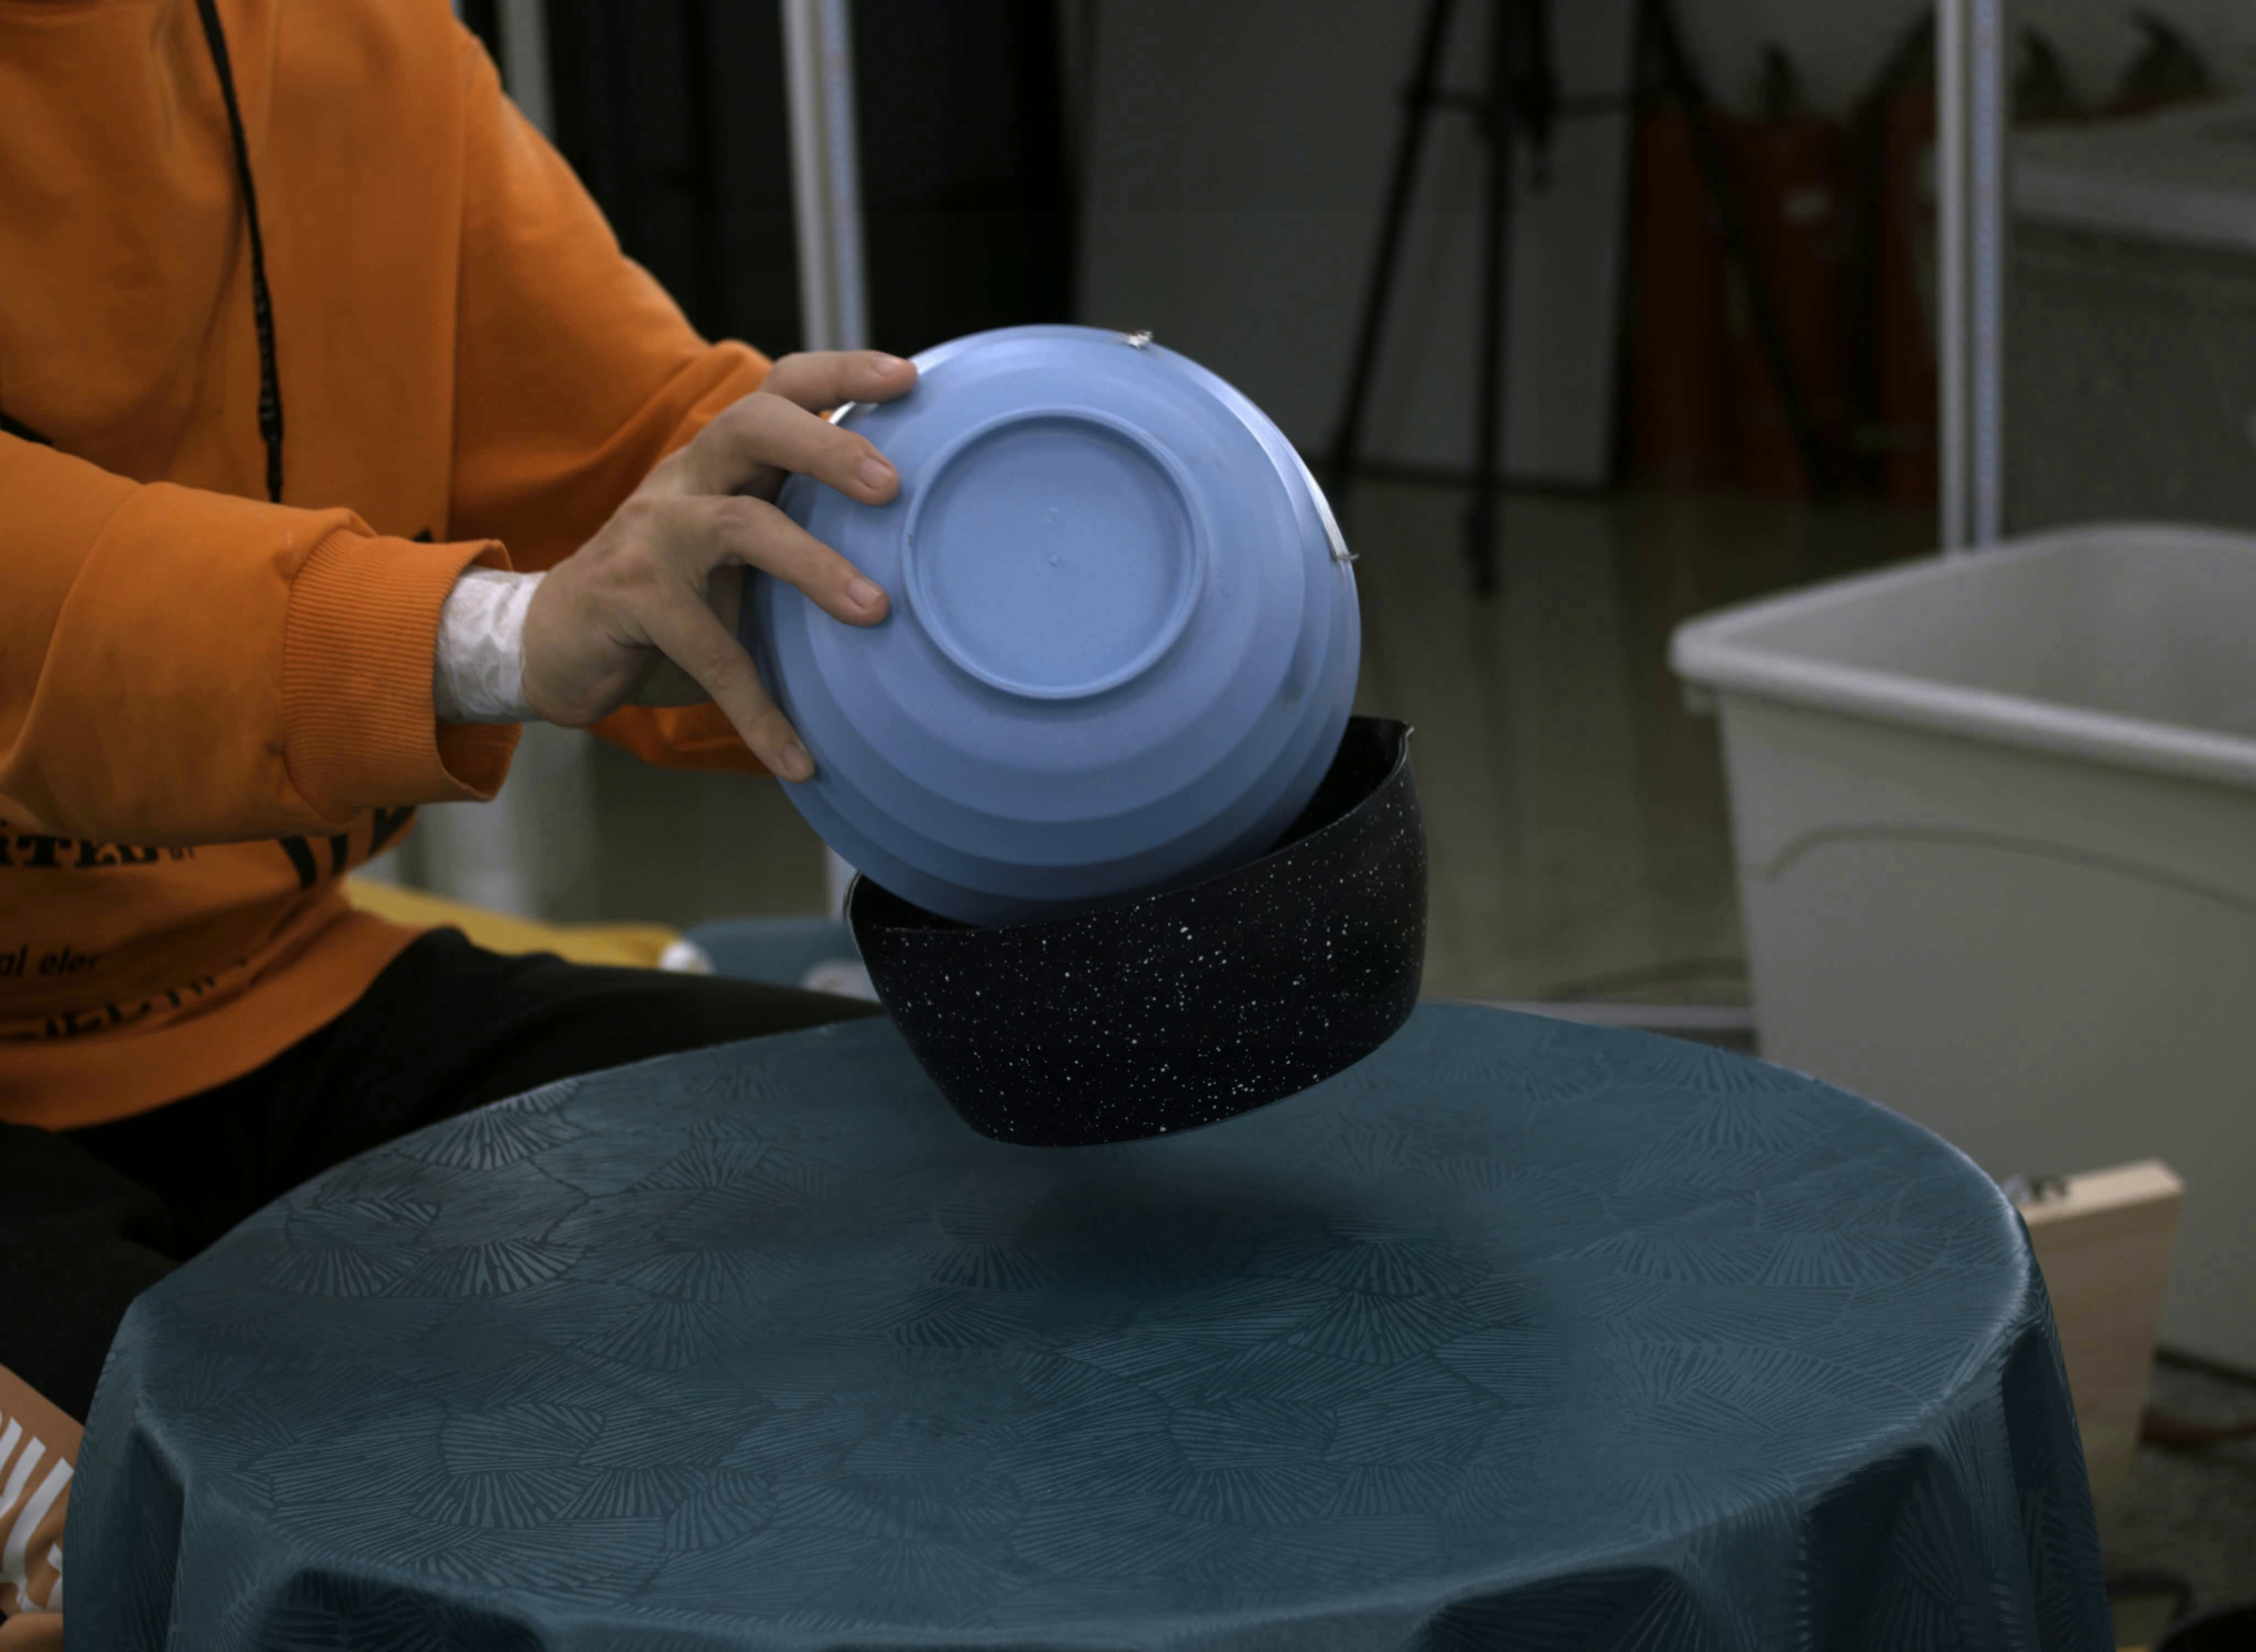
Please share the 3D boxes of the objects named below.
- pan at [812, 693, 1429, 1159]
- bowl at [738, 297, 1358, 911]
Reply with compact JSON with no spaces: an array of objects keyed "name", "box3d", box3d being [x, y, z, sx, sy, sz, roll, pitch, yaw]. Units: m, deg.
[{"name":"pan","box3d":[-0.020,0.010,1.782,0.204,0.109,0.346,-21,17,-14]},{"name":"bowl","box3d":[-0.025,-0.076,1.644,0.194,0.199,0.095,-4,-12,0]}]
